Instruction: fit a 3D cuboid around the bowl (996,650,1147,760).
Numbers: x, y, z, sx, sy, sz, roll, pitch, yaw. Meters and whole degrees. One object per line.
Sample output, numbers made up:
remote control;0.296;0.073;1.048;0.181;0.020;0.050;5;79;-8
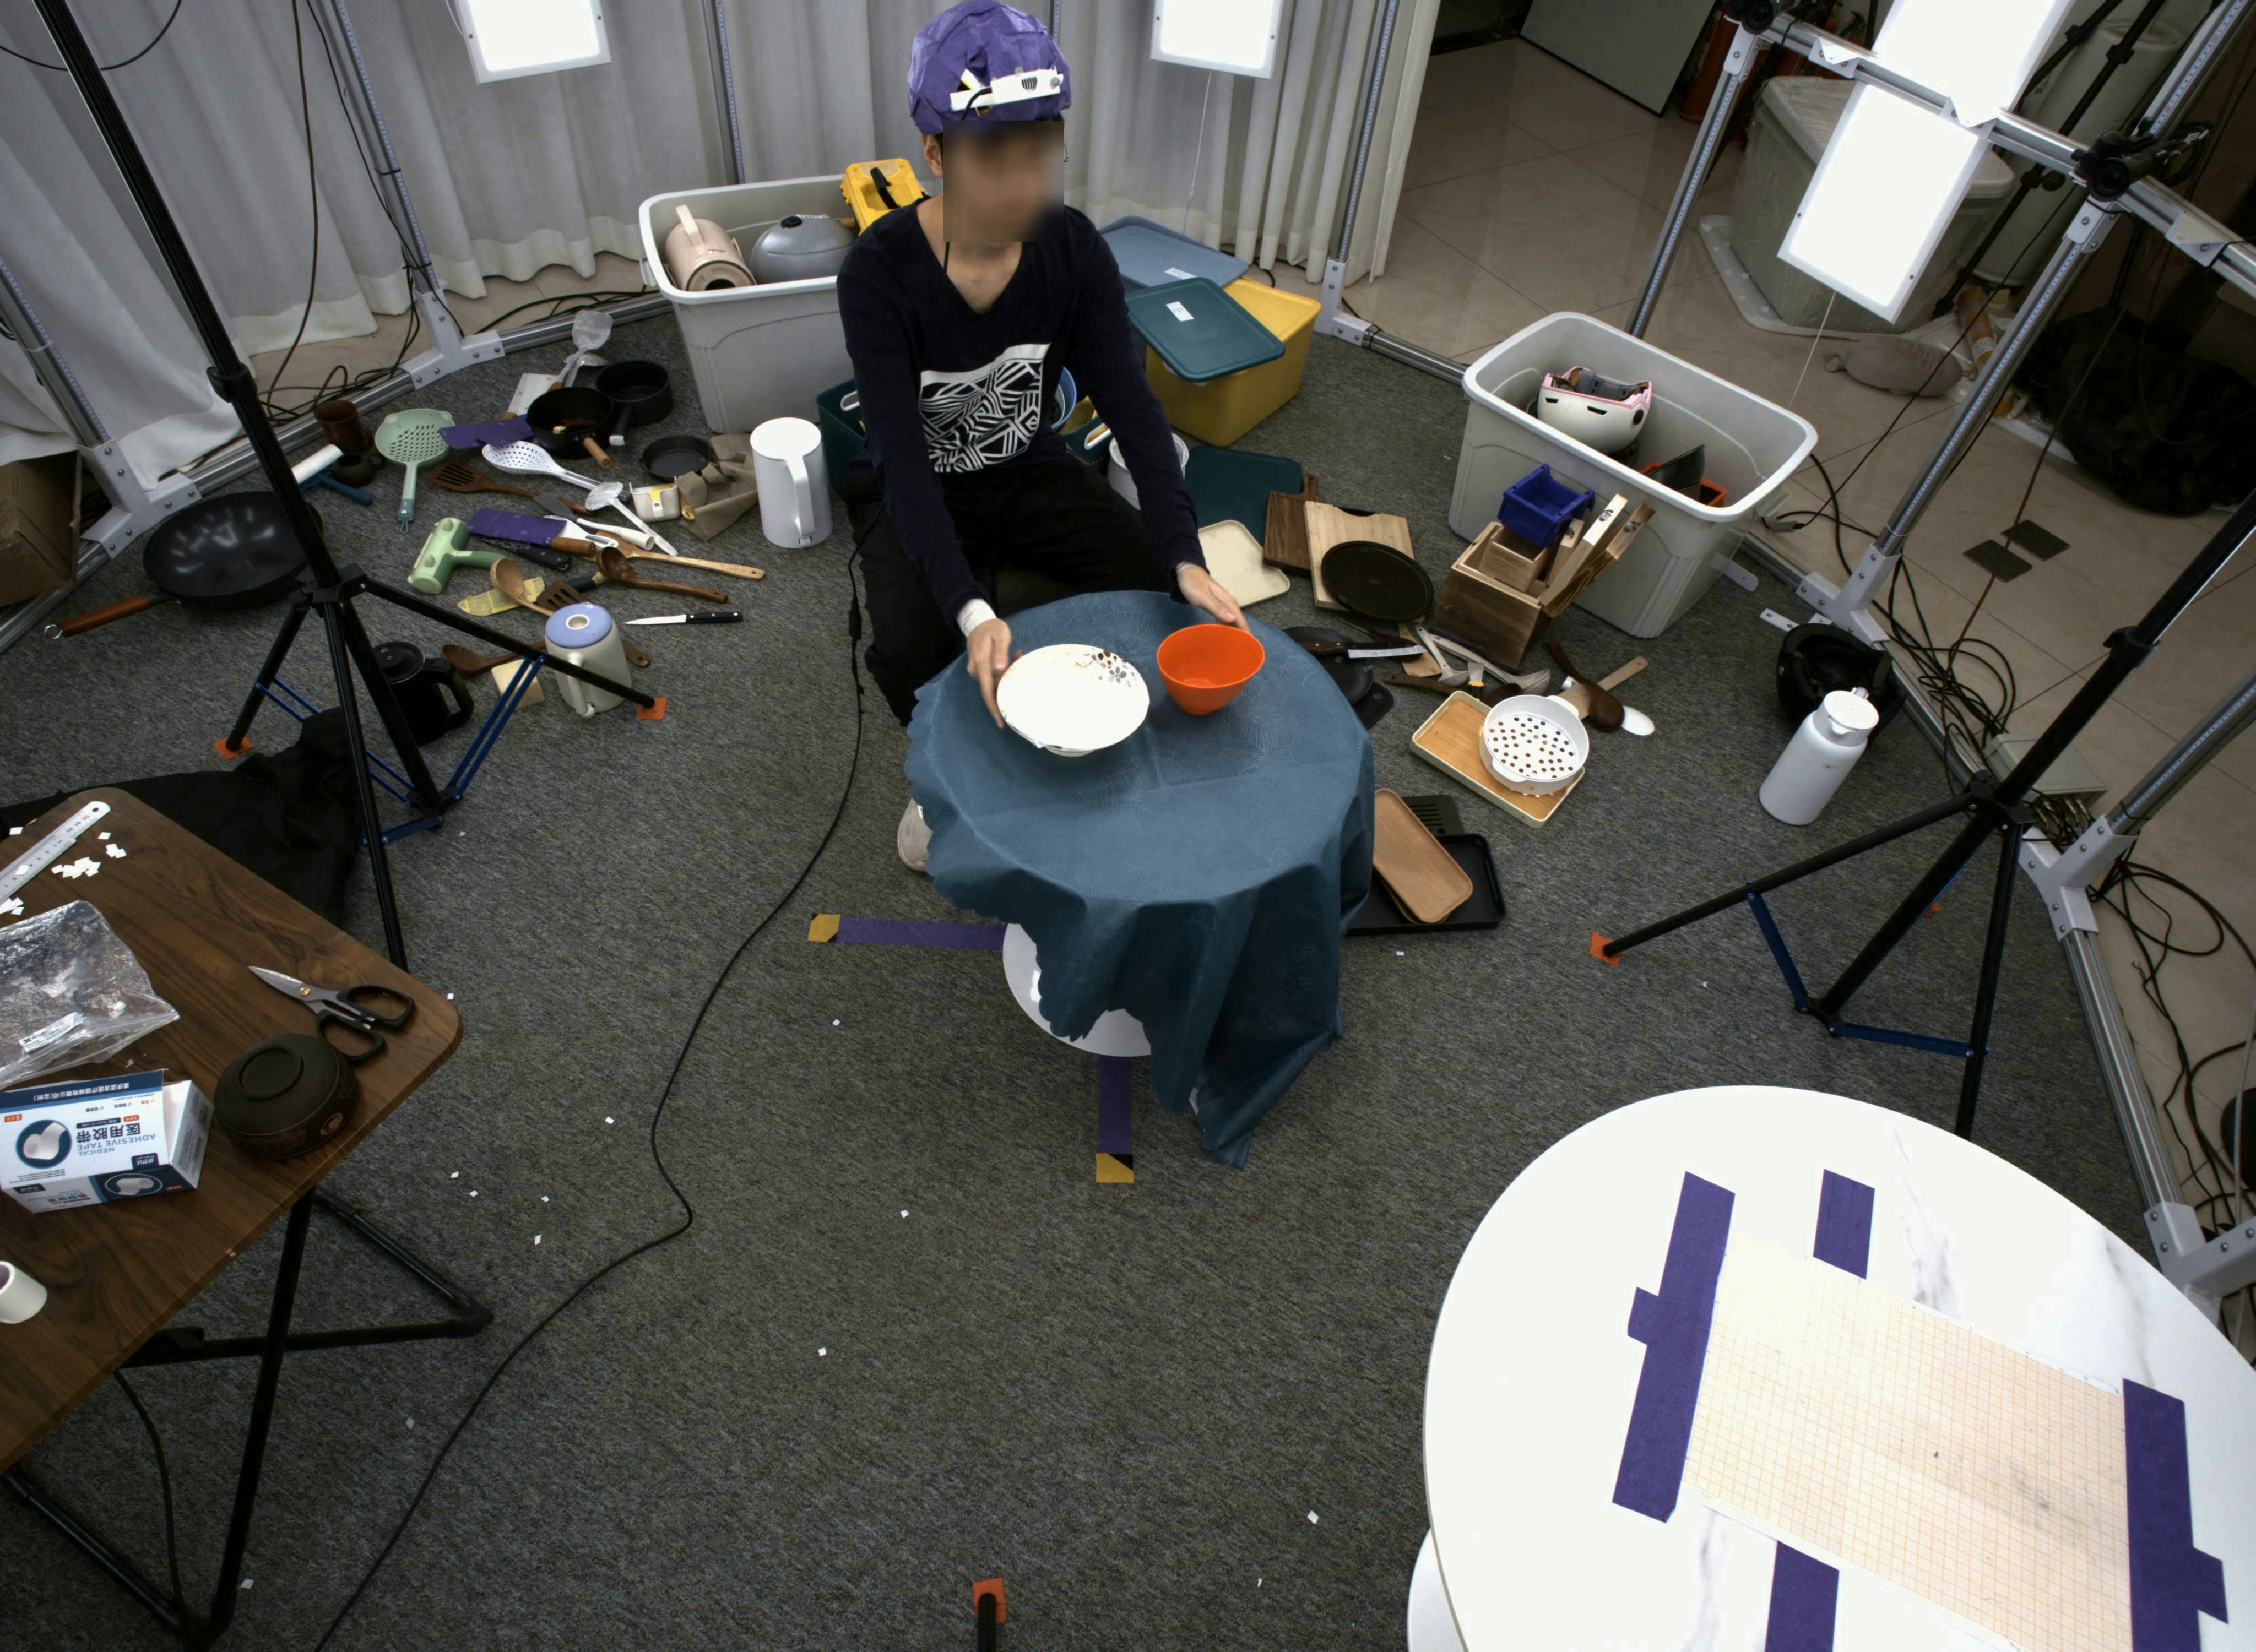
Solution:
bowl;-0.077;-0.147;1.744;0.204;0.076;0.209;2;45;-2

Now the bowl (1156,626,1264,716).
bowl;0.110;-0.206;1.790;0.148;0.102;0.152;1;48;-2
